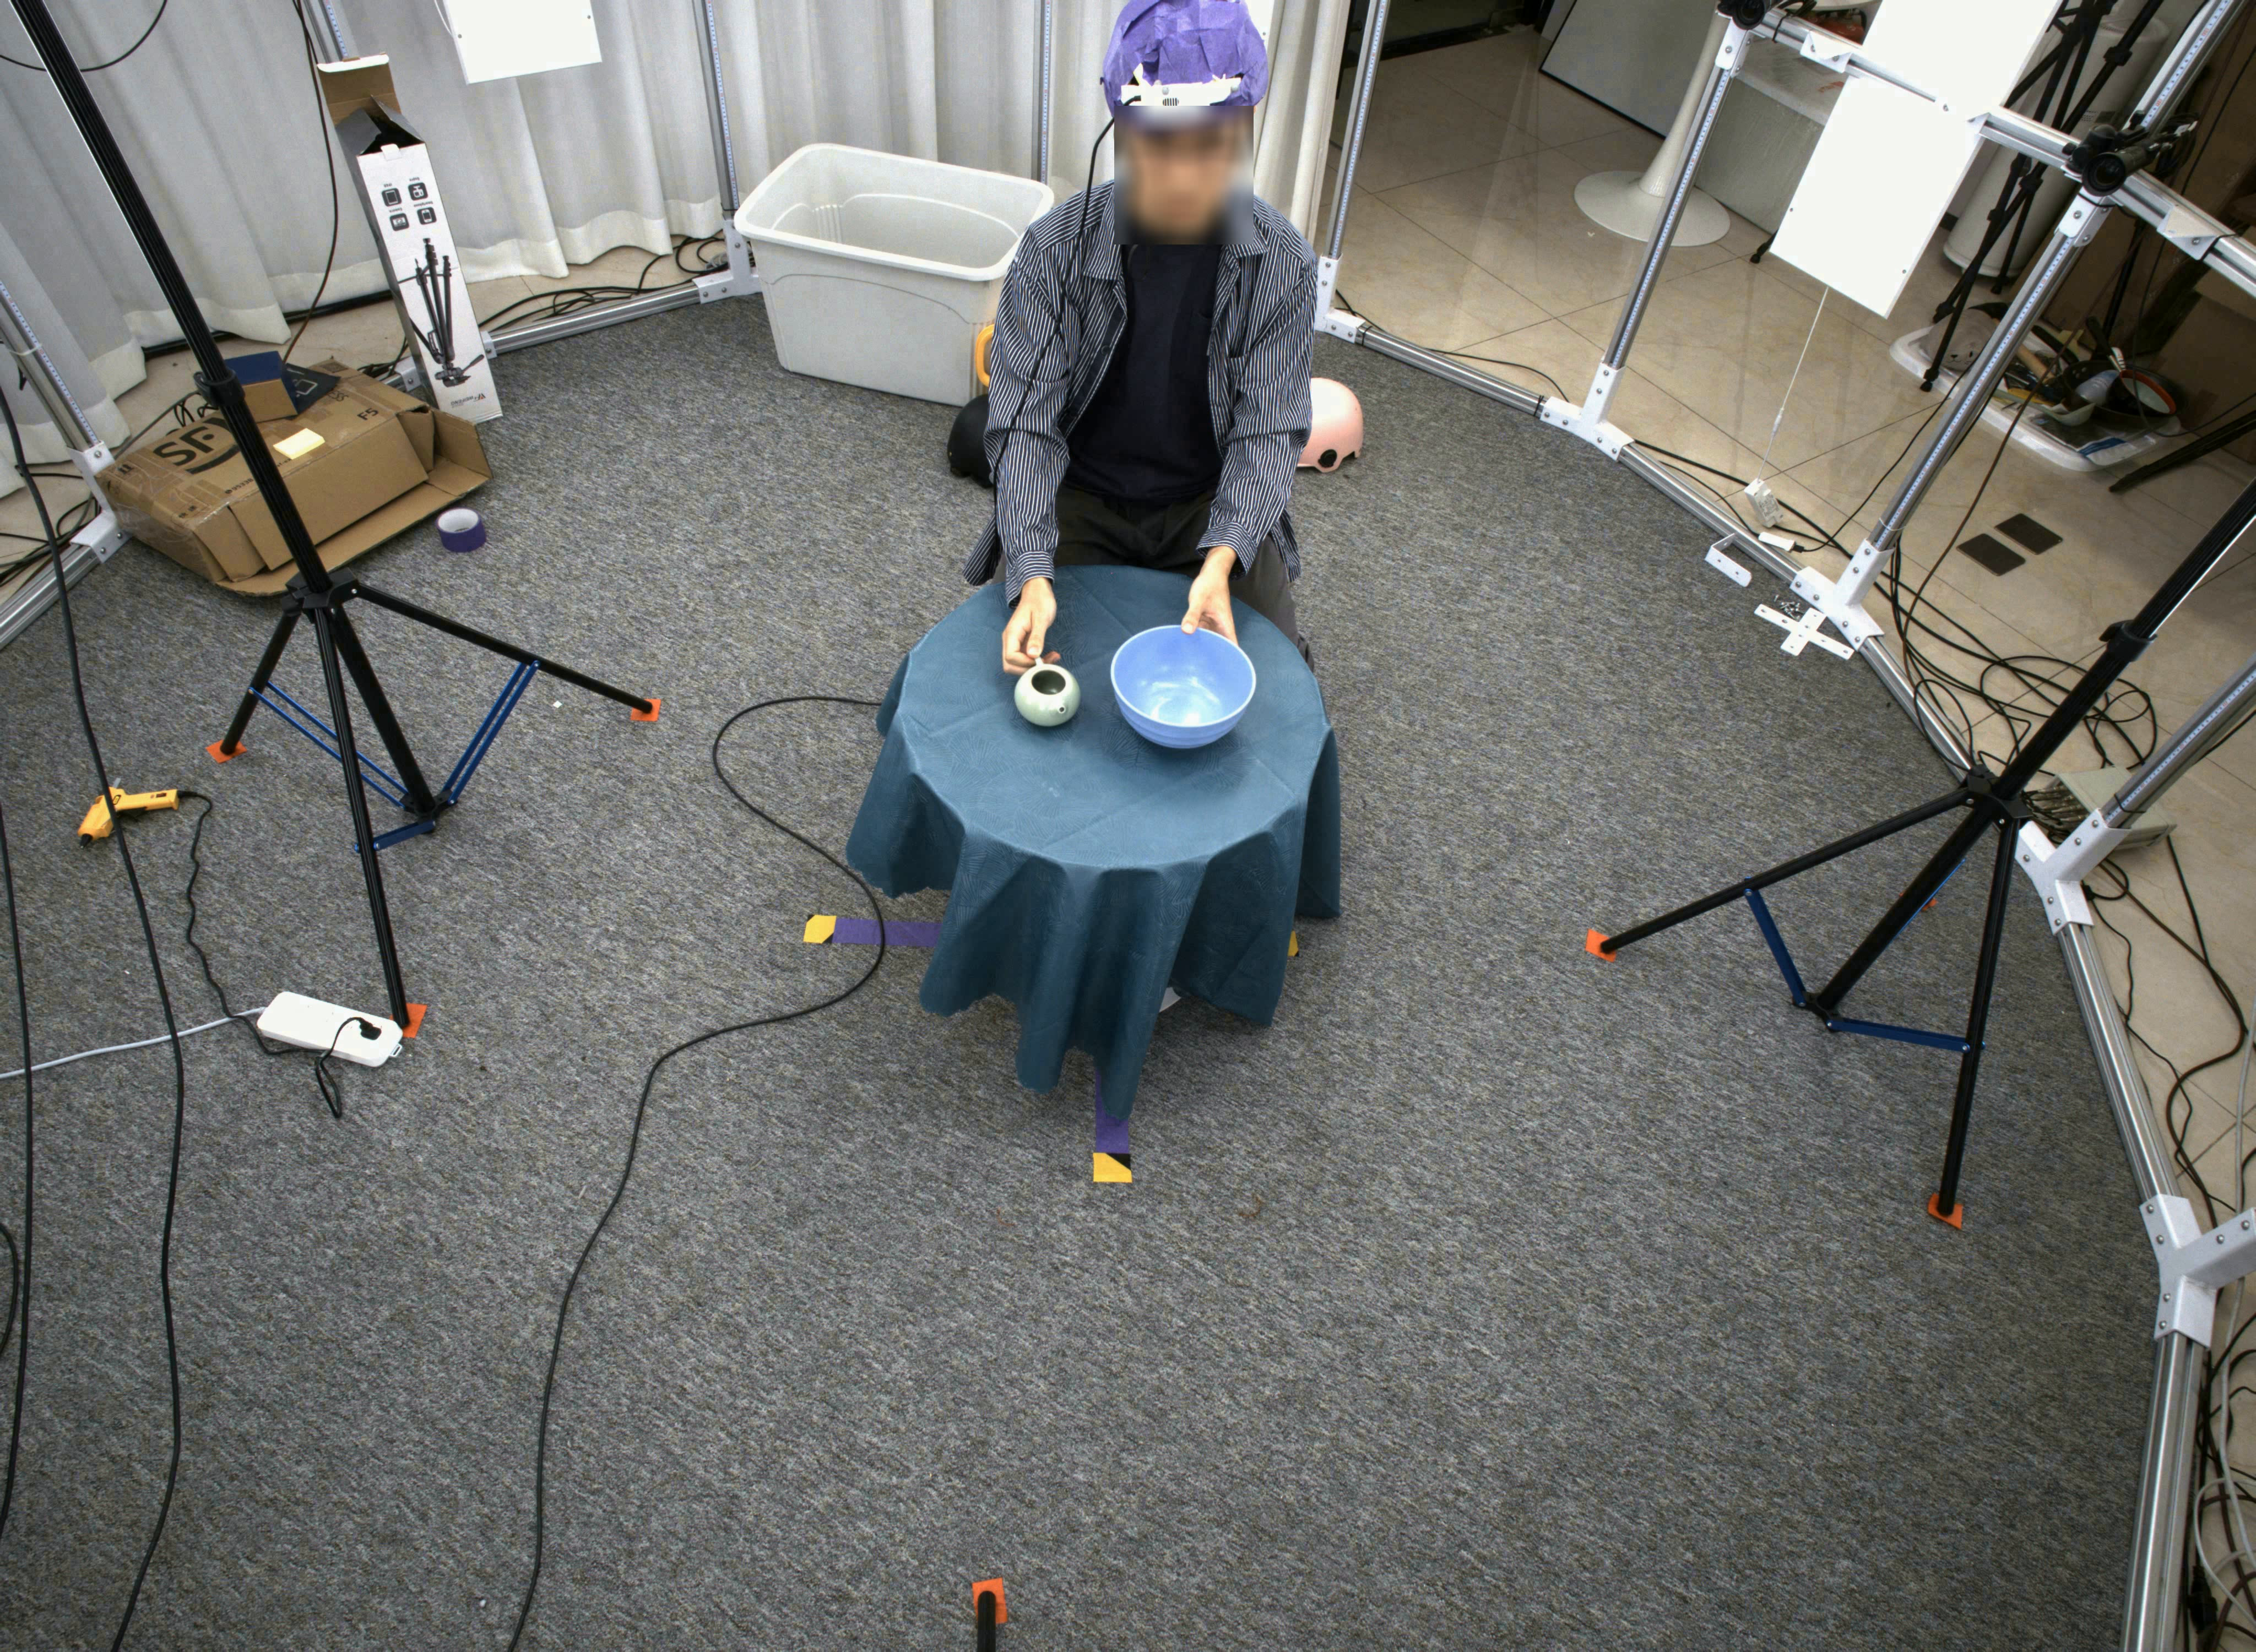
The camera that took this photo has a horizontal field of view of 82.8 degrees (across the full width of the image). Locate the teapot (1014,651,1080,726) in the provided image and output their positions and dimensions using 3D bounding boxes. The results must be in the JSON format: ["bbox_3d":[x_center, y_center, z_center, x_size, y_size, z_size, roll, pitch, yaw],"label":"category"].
[{"bbox_3d":[-0.114,-0.188,1.771,0.091,0.059,0.131,-11,54,-15],"label":"teapot"}]

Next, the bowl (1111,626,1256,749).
[{"bbox_3d":[0.072,-0.175,1.757,0.196,0.093,0.201,2,49,-3],"label":"bowl"}]
